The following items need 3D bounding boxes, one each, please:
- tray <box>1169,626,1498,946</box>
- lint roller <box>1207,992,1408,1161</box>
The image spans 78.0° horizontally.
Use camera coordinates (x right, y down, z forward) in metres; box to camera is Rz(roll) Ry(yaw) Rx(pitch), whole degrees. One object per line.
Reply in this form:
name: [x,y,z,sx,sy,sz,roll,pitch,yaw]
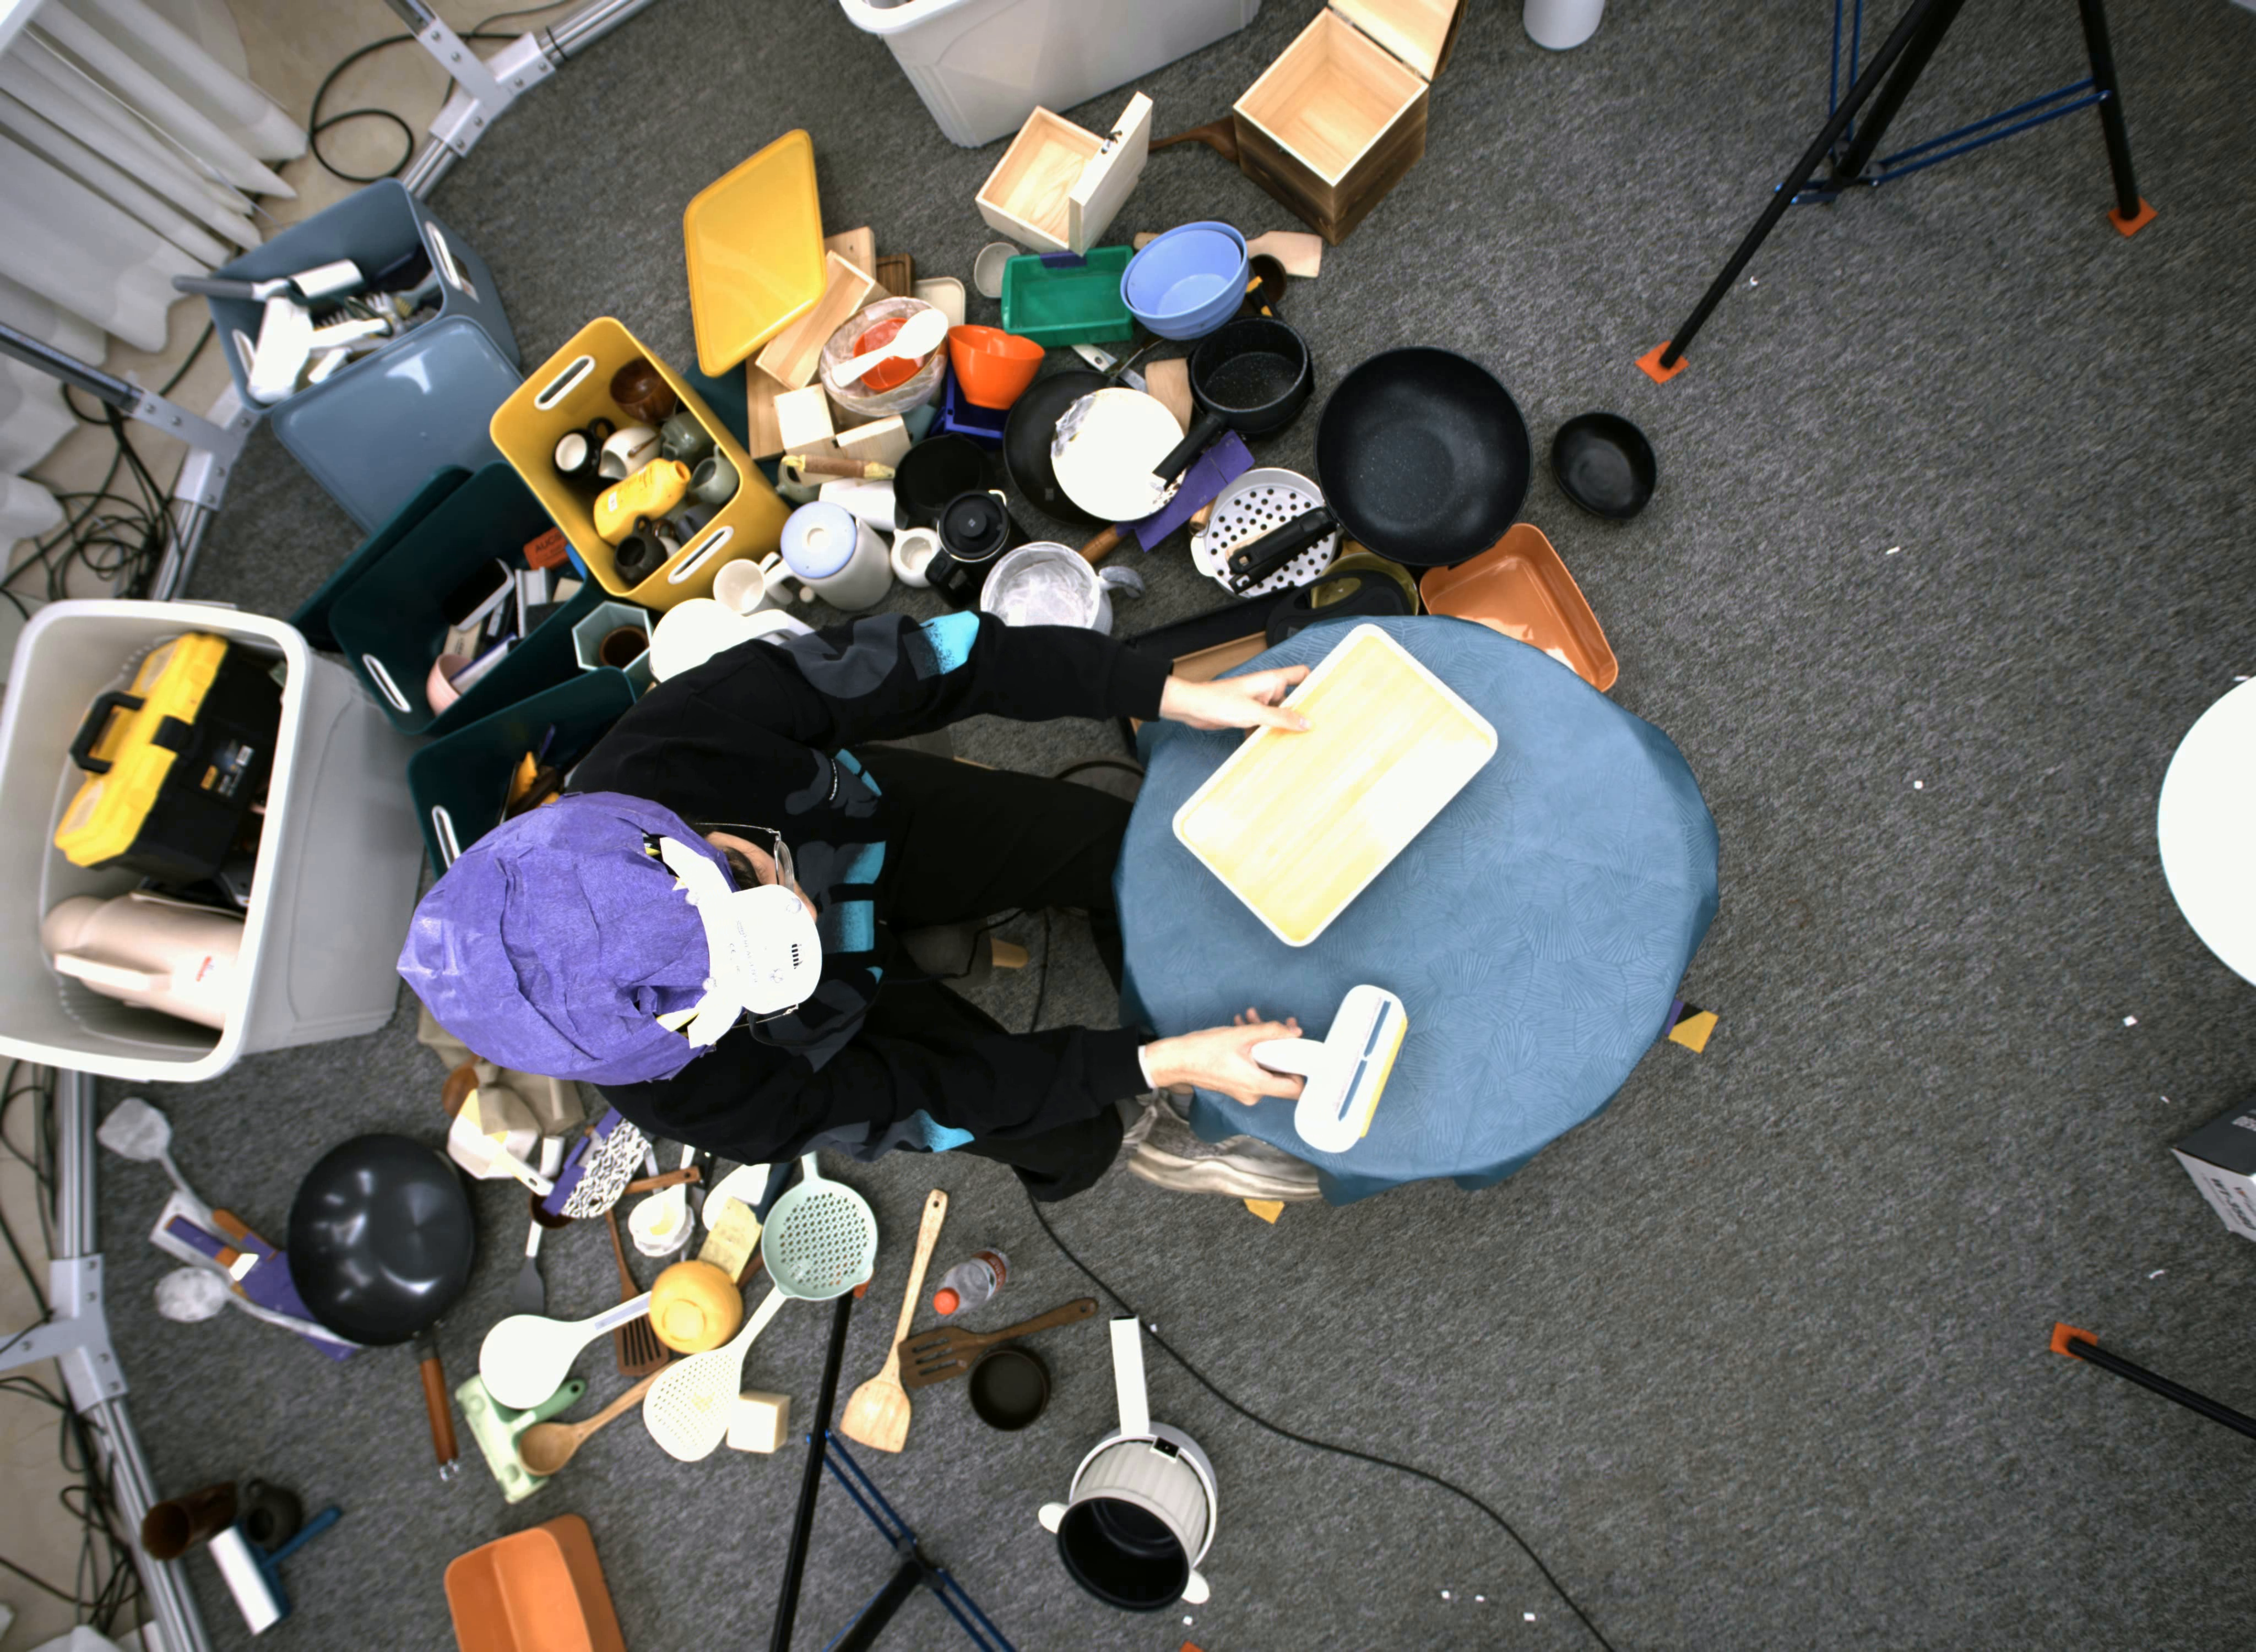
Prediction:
tray: [0.208,-0.042,1.406,0.301,0.027,0.190,-44,80,5]
lint roller: [0.168,0.233,1.397,0.192,0.076,0.188,17,53,22]
